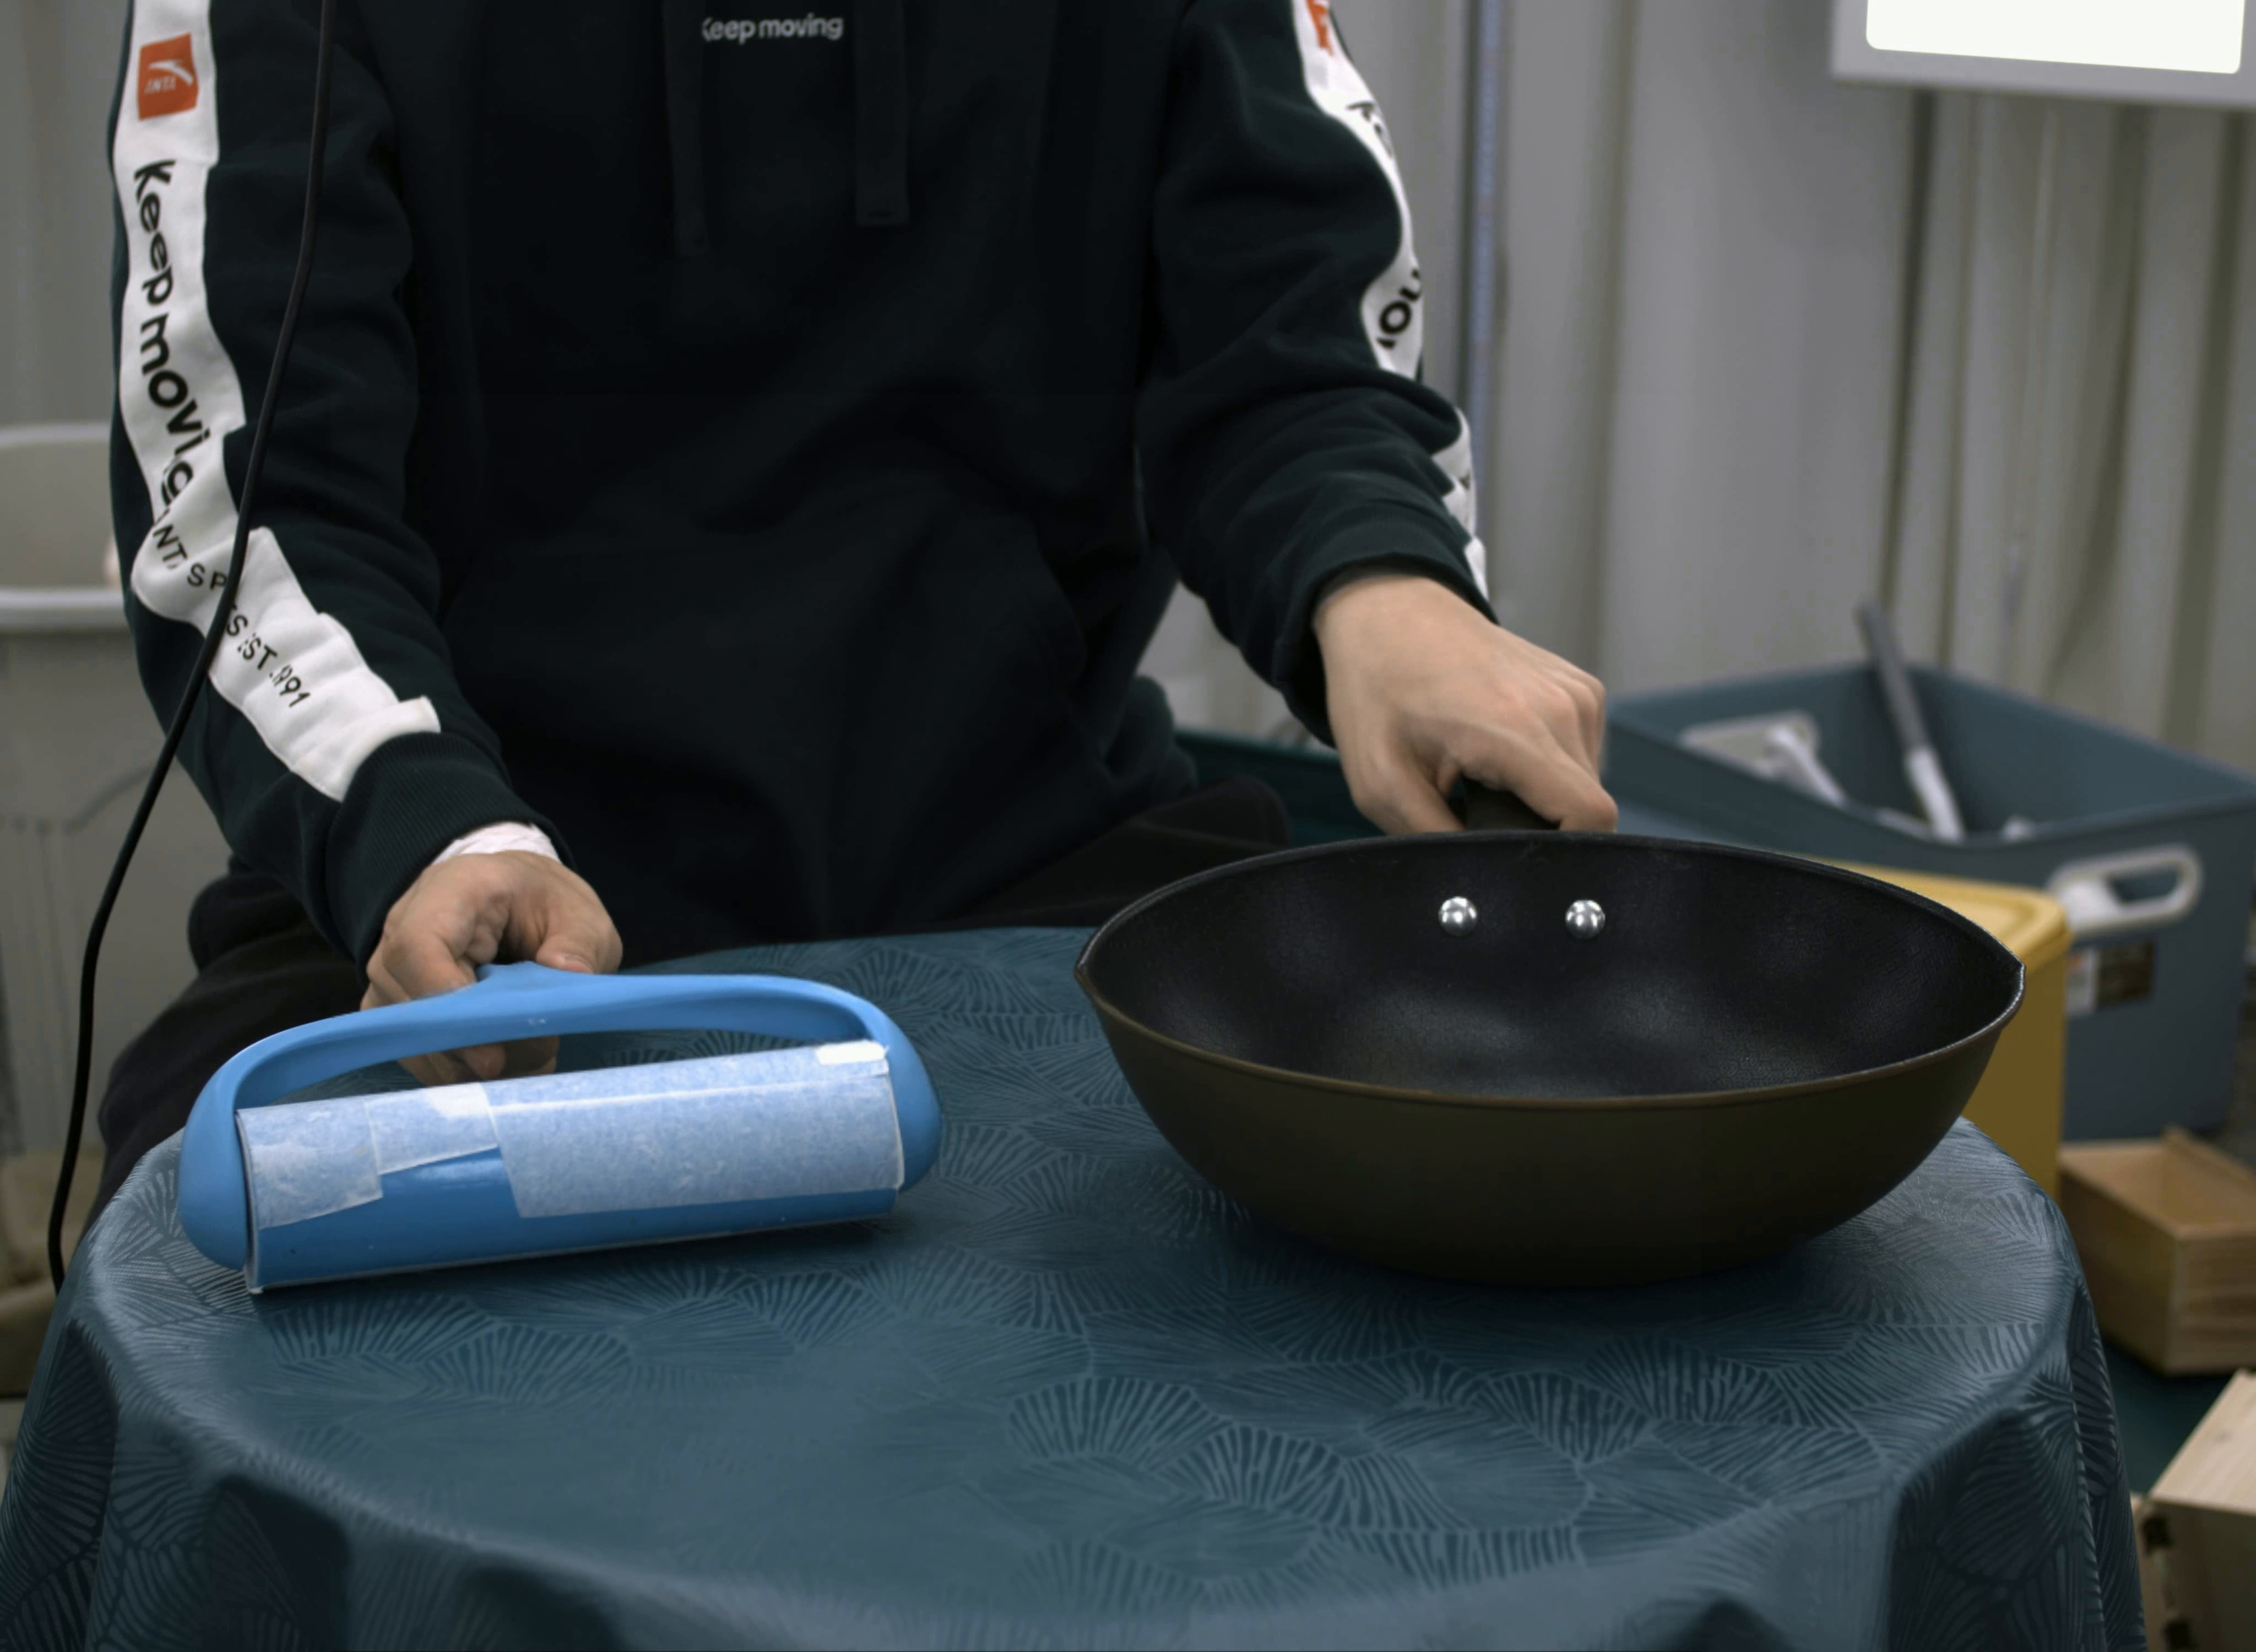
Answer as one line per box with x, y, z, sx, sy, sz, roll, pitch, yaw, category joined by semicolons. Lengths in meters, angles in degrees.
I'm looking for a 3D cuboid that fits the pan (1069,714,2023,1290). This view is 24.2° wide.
0.126;0.054;1.683;0.287;0.087;0.461;1;15;0;pan

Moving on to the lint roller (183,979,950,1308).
-0.183;0.079;1.600;0.229;0.068;0.178;-9;25;-19;lint roller
